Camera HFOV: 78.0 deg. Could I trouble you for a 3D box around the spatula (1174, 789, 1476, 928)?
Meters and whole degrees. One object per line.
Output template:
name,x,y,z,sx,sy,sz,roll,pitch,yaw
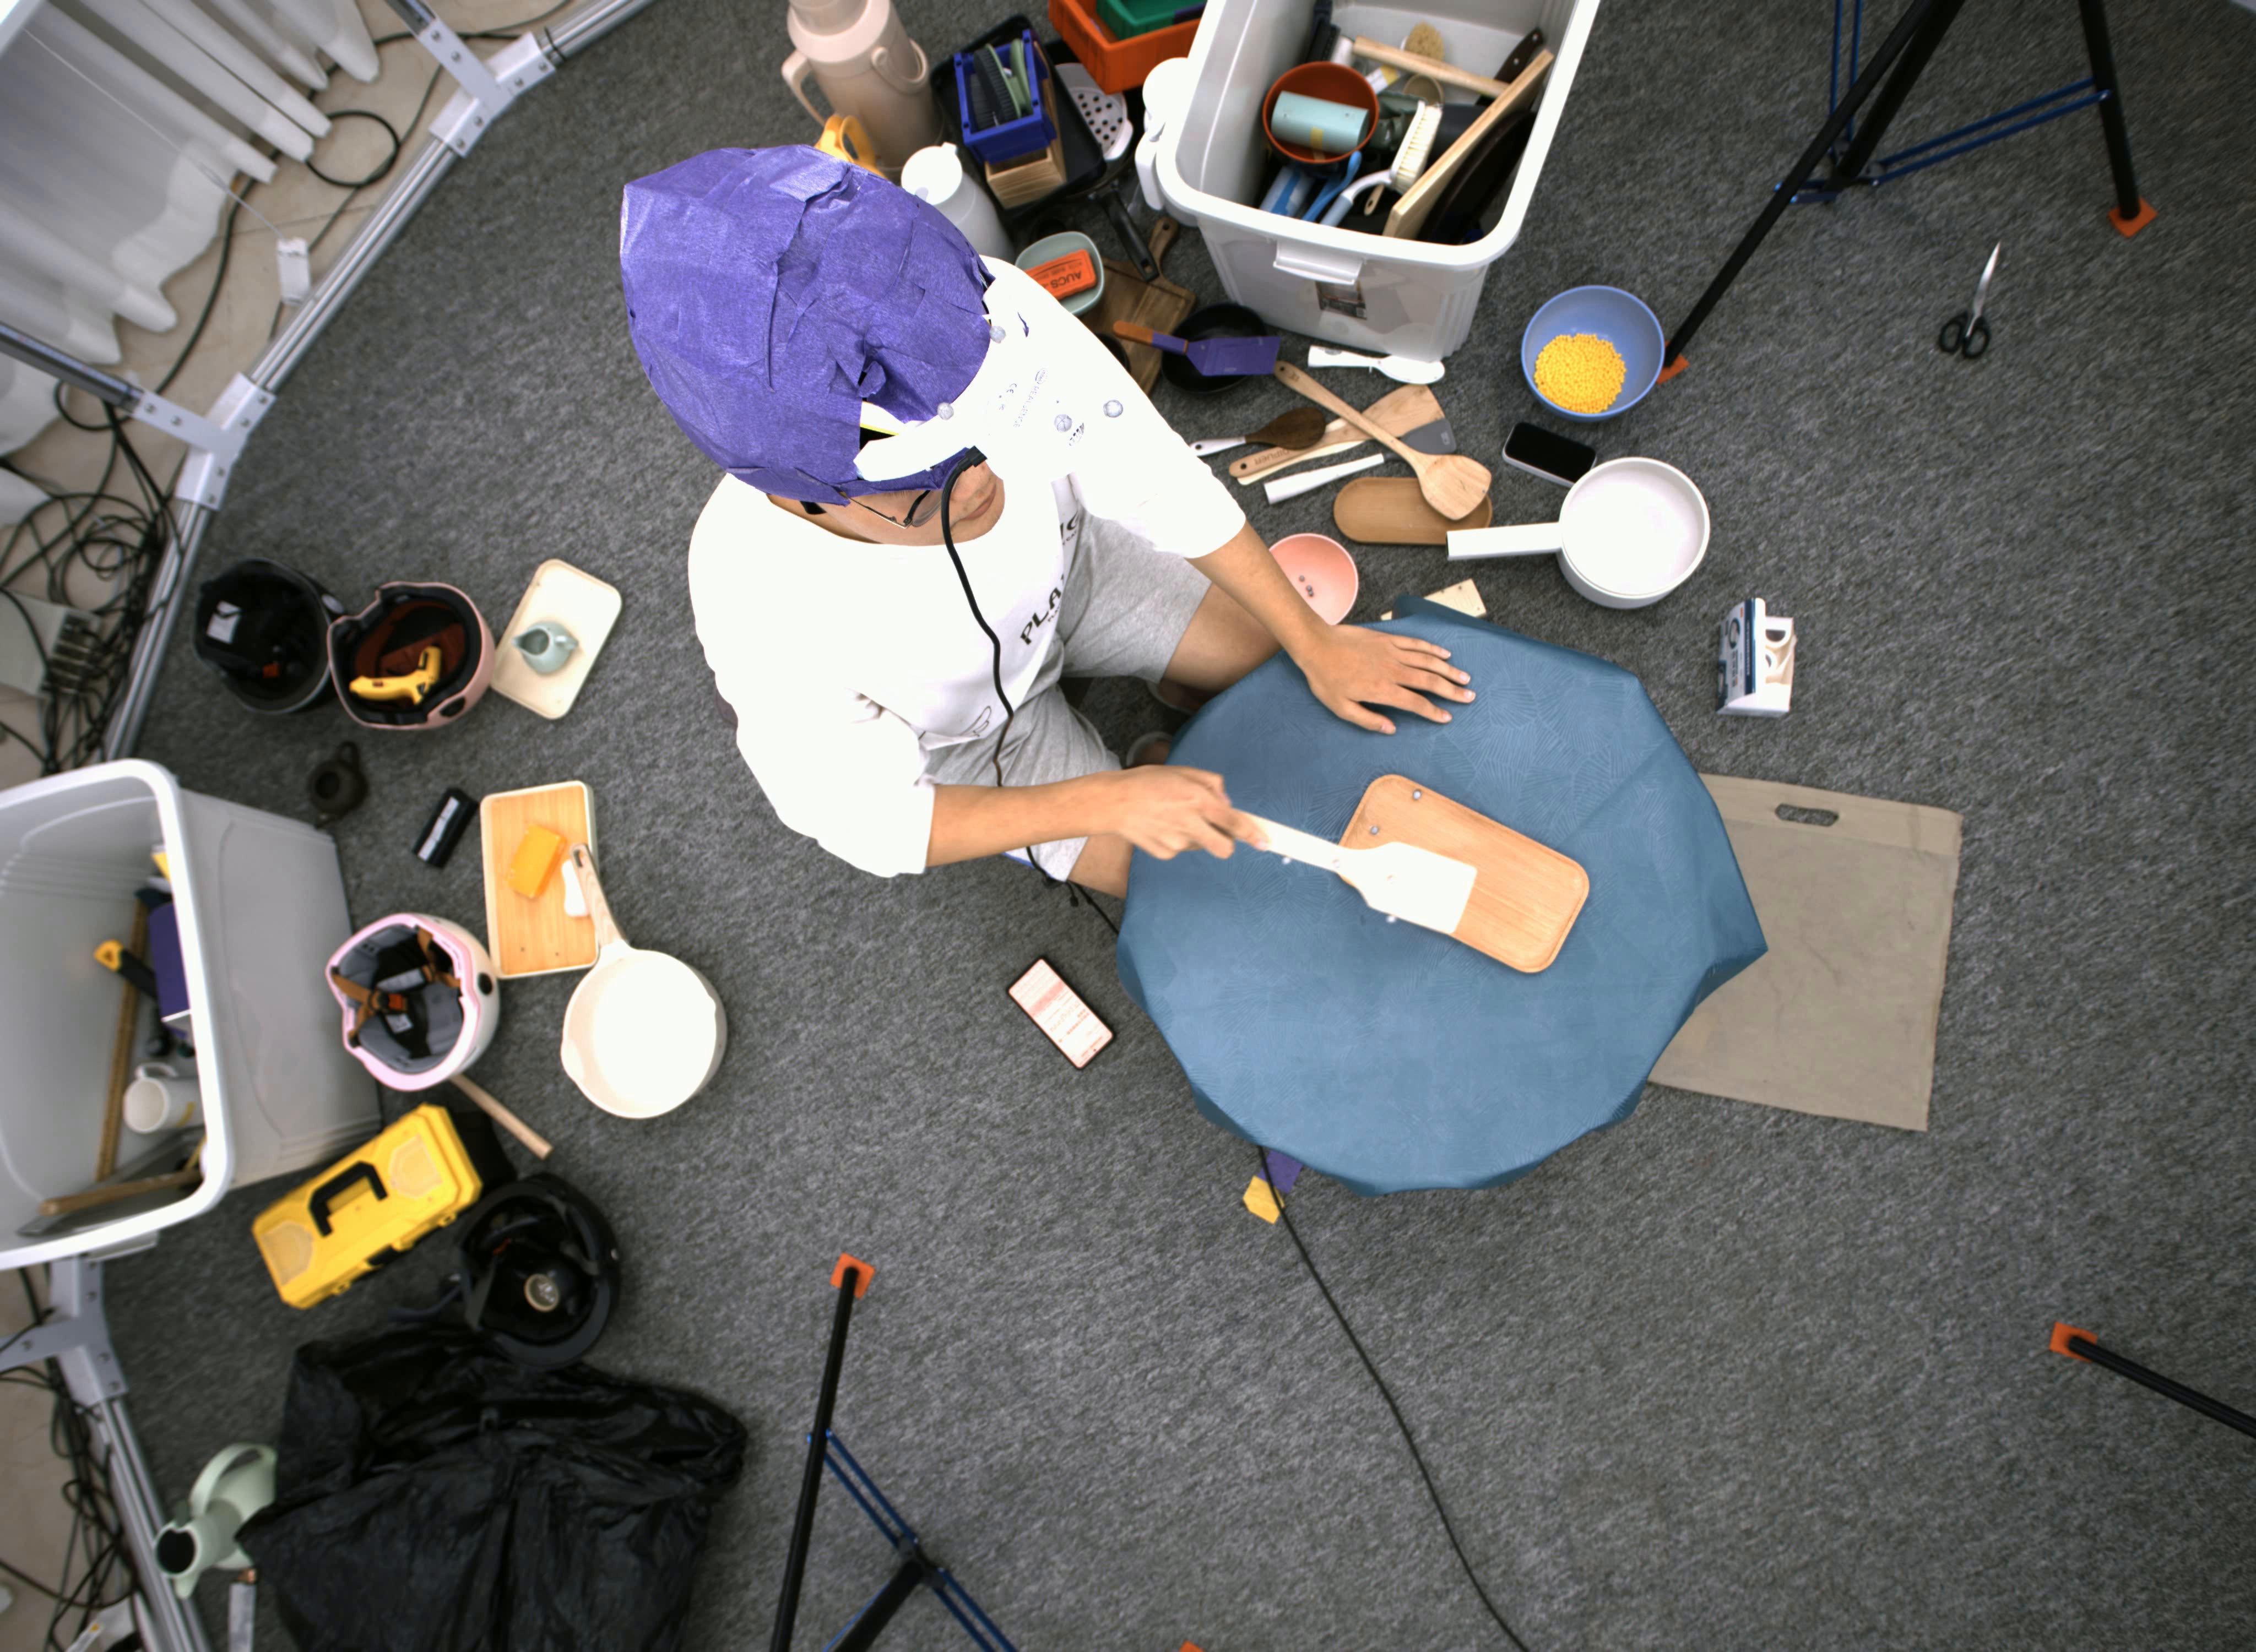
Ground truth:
spatula,0.184,0.021,1.323,0.293,0.010,0.073,18,103,4

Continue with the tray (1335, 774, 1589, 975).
tray,0.347,0.048,1.438,0.250,0.023,0.131,29,94,11
